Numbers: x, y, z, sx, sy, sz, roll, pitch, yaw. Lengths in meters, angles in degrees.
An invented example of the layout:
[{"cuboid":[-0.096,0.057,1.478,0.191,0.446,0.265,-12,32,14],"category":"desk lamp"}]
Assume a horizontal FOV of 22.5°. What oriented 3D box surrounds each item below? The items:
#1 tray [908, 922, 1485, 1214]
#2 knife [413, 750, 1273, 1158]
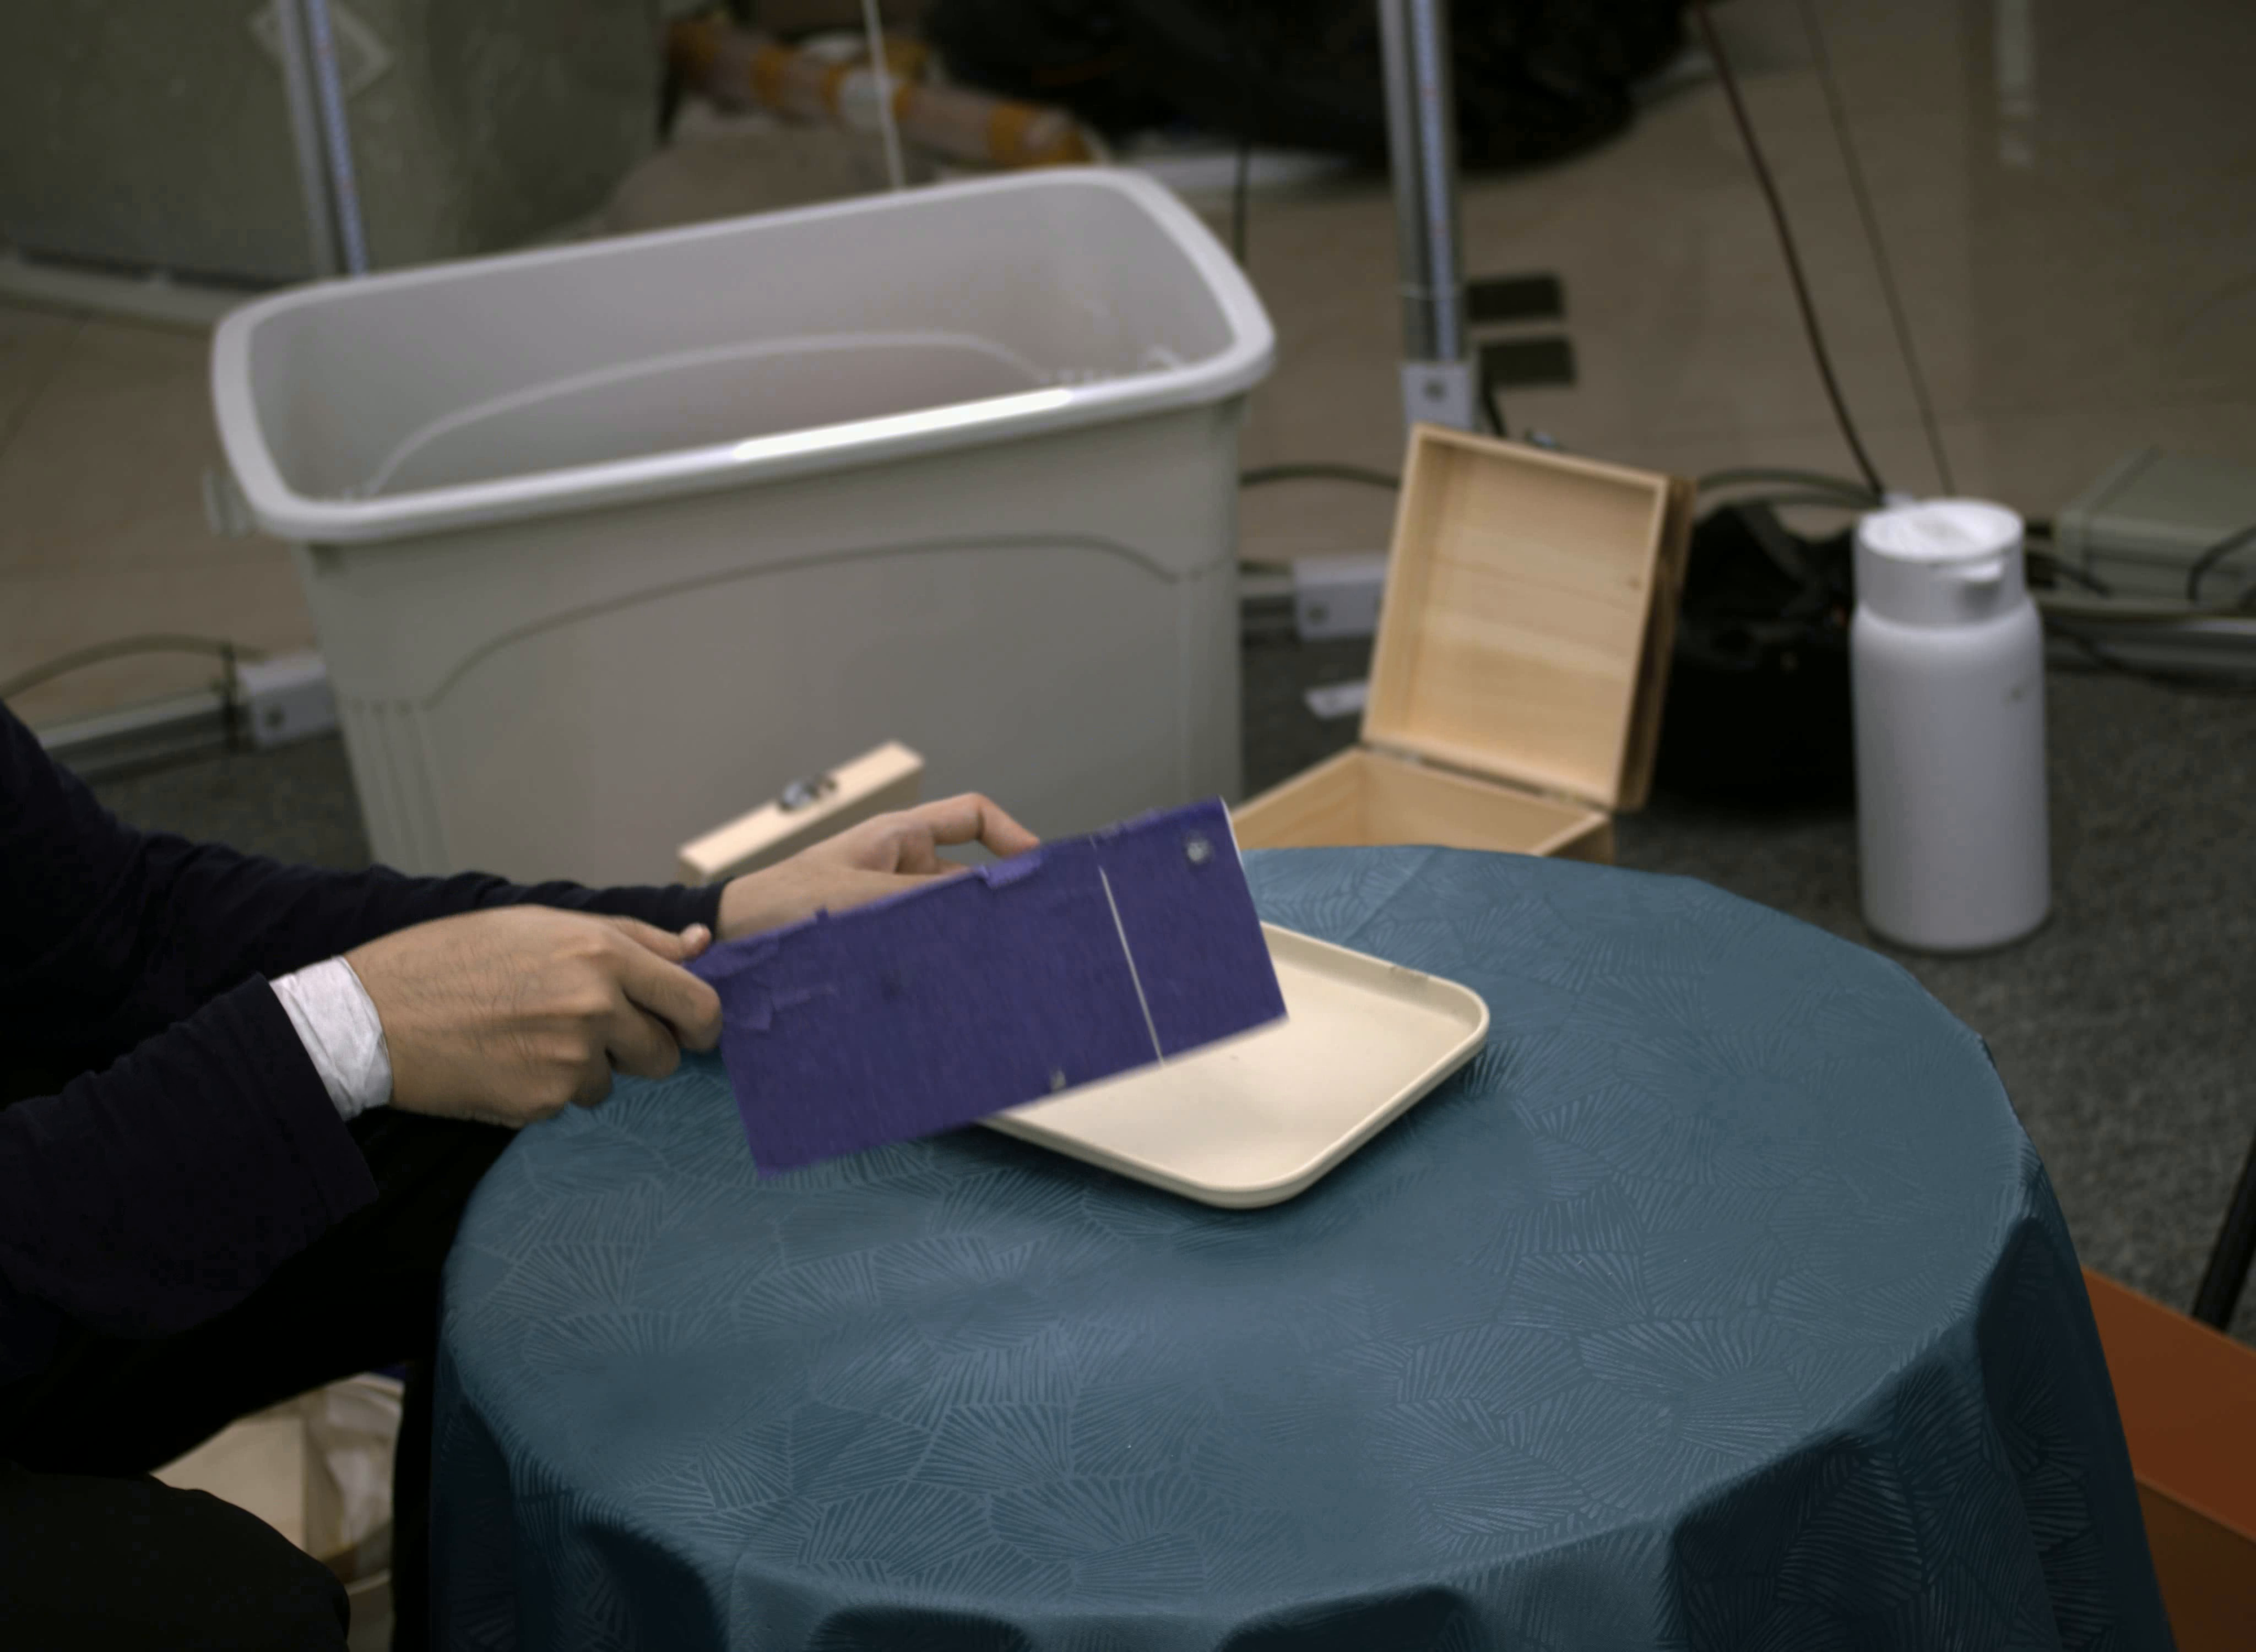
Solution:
[{"cuboid":[0.007,0.083,2.227,0.238,0.018,0.169,19,38,35],"category":"tray"},{"cuboid":[-0.101,0.067,2.089,0.314,0.105,0.032,-18,11,-6],"category":"knife"}]
